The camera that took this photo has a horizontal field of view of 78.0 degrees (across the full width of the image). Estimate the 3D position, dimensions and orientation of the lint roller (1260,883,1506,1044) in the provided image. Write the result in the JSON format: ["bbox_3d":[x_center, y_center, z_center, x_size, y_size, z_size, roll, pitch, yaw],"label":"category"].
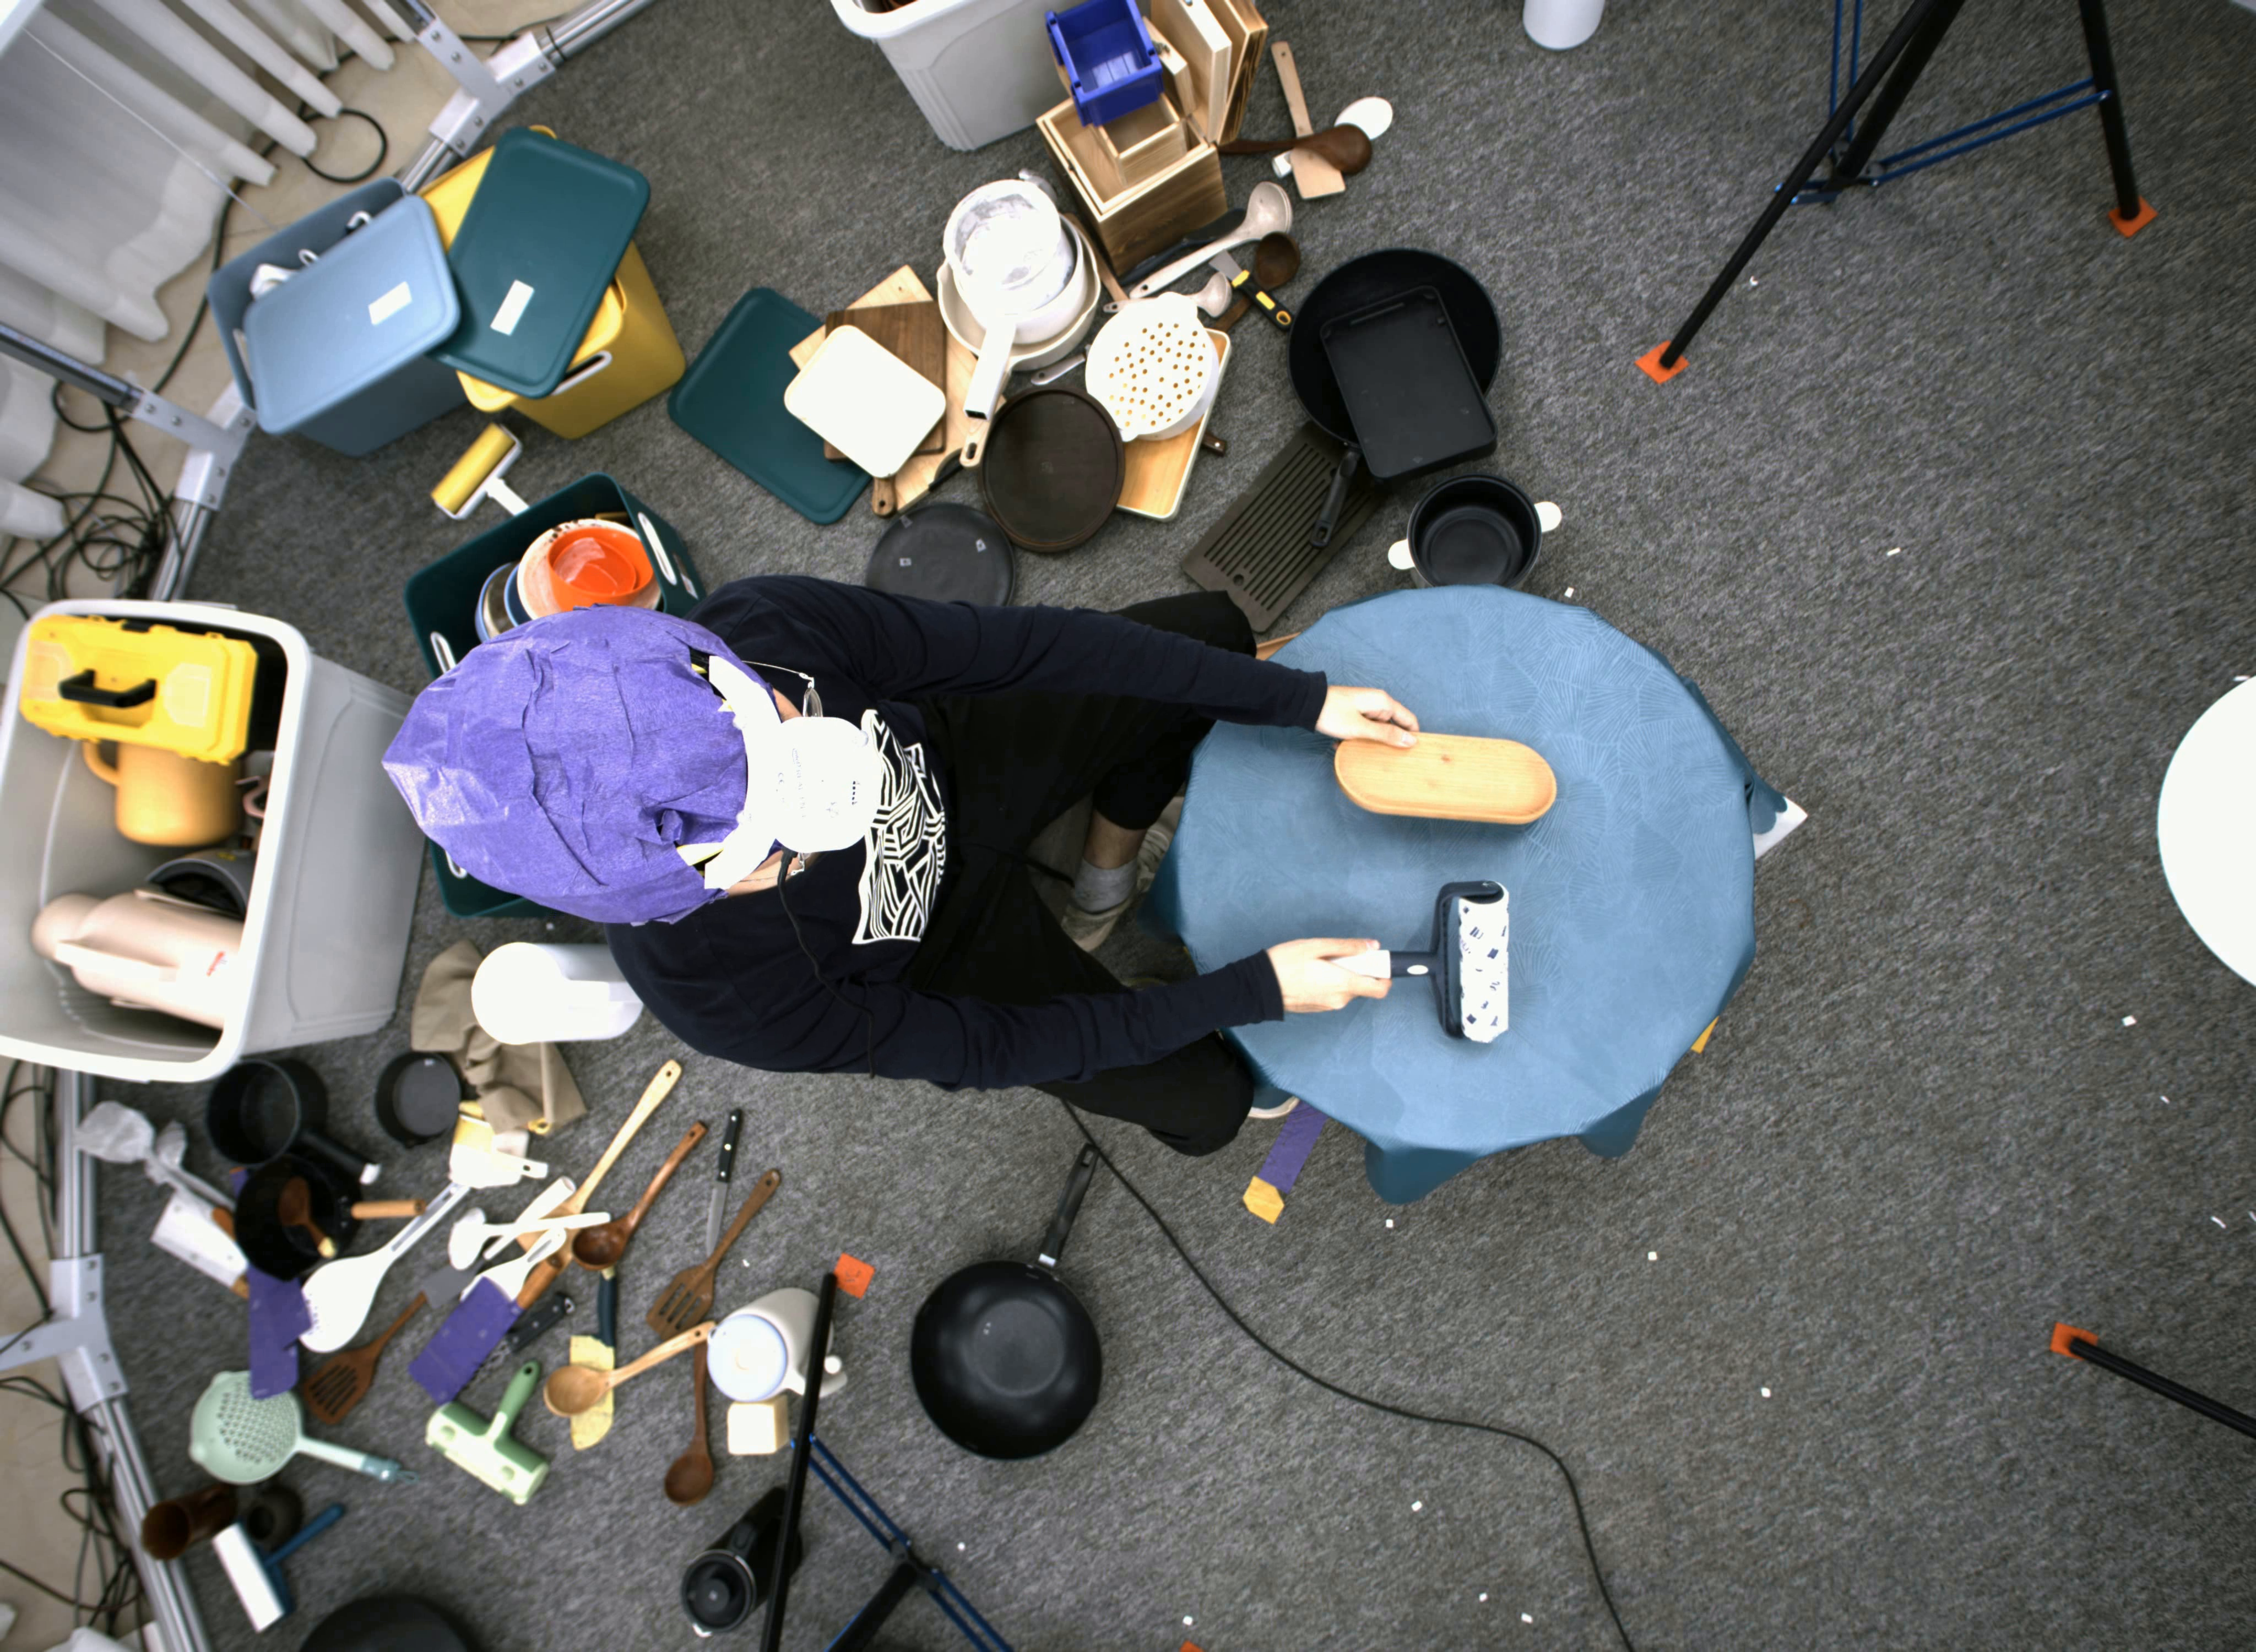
[{"bbox_3d":[0.255,0.141,1.393,0.248,0.049,0.180,-3,118,12],"label":"lint roller"}]

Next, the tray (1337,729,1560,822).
[{"bbox_3d":[0.327,-0.053,1.402,0.231,0.021,0.099,3,60,-5],"label":"tray"}]
